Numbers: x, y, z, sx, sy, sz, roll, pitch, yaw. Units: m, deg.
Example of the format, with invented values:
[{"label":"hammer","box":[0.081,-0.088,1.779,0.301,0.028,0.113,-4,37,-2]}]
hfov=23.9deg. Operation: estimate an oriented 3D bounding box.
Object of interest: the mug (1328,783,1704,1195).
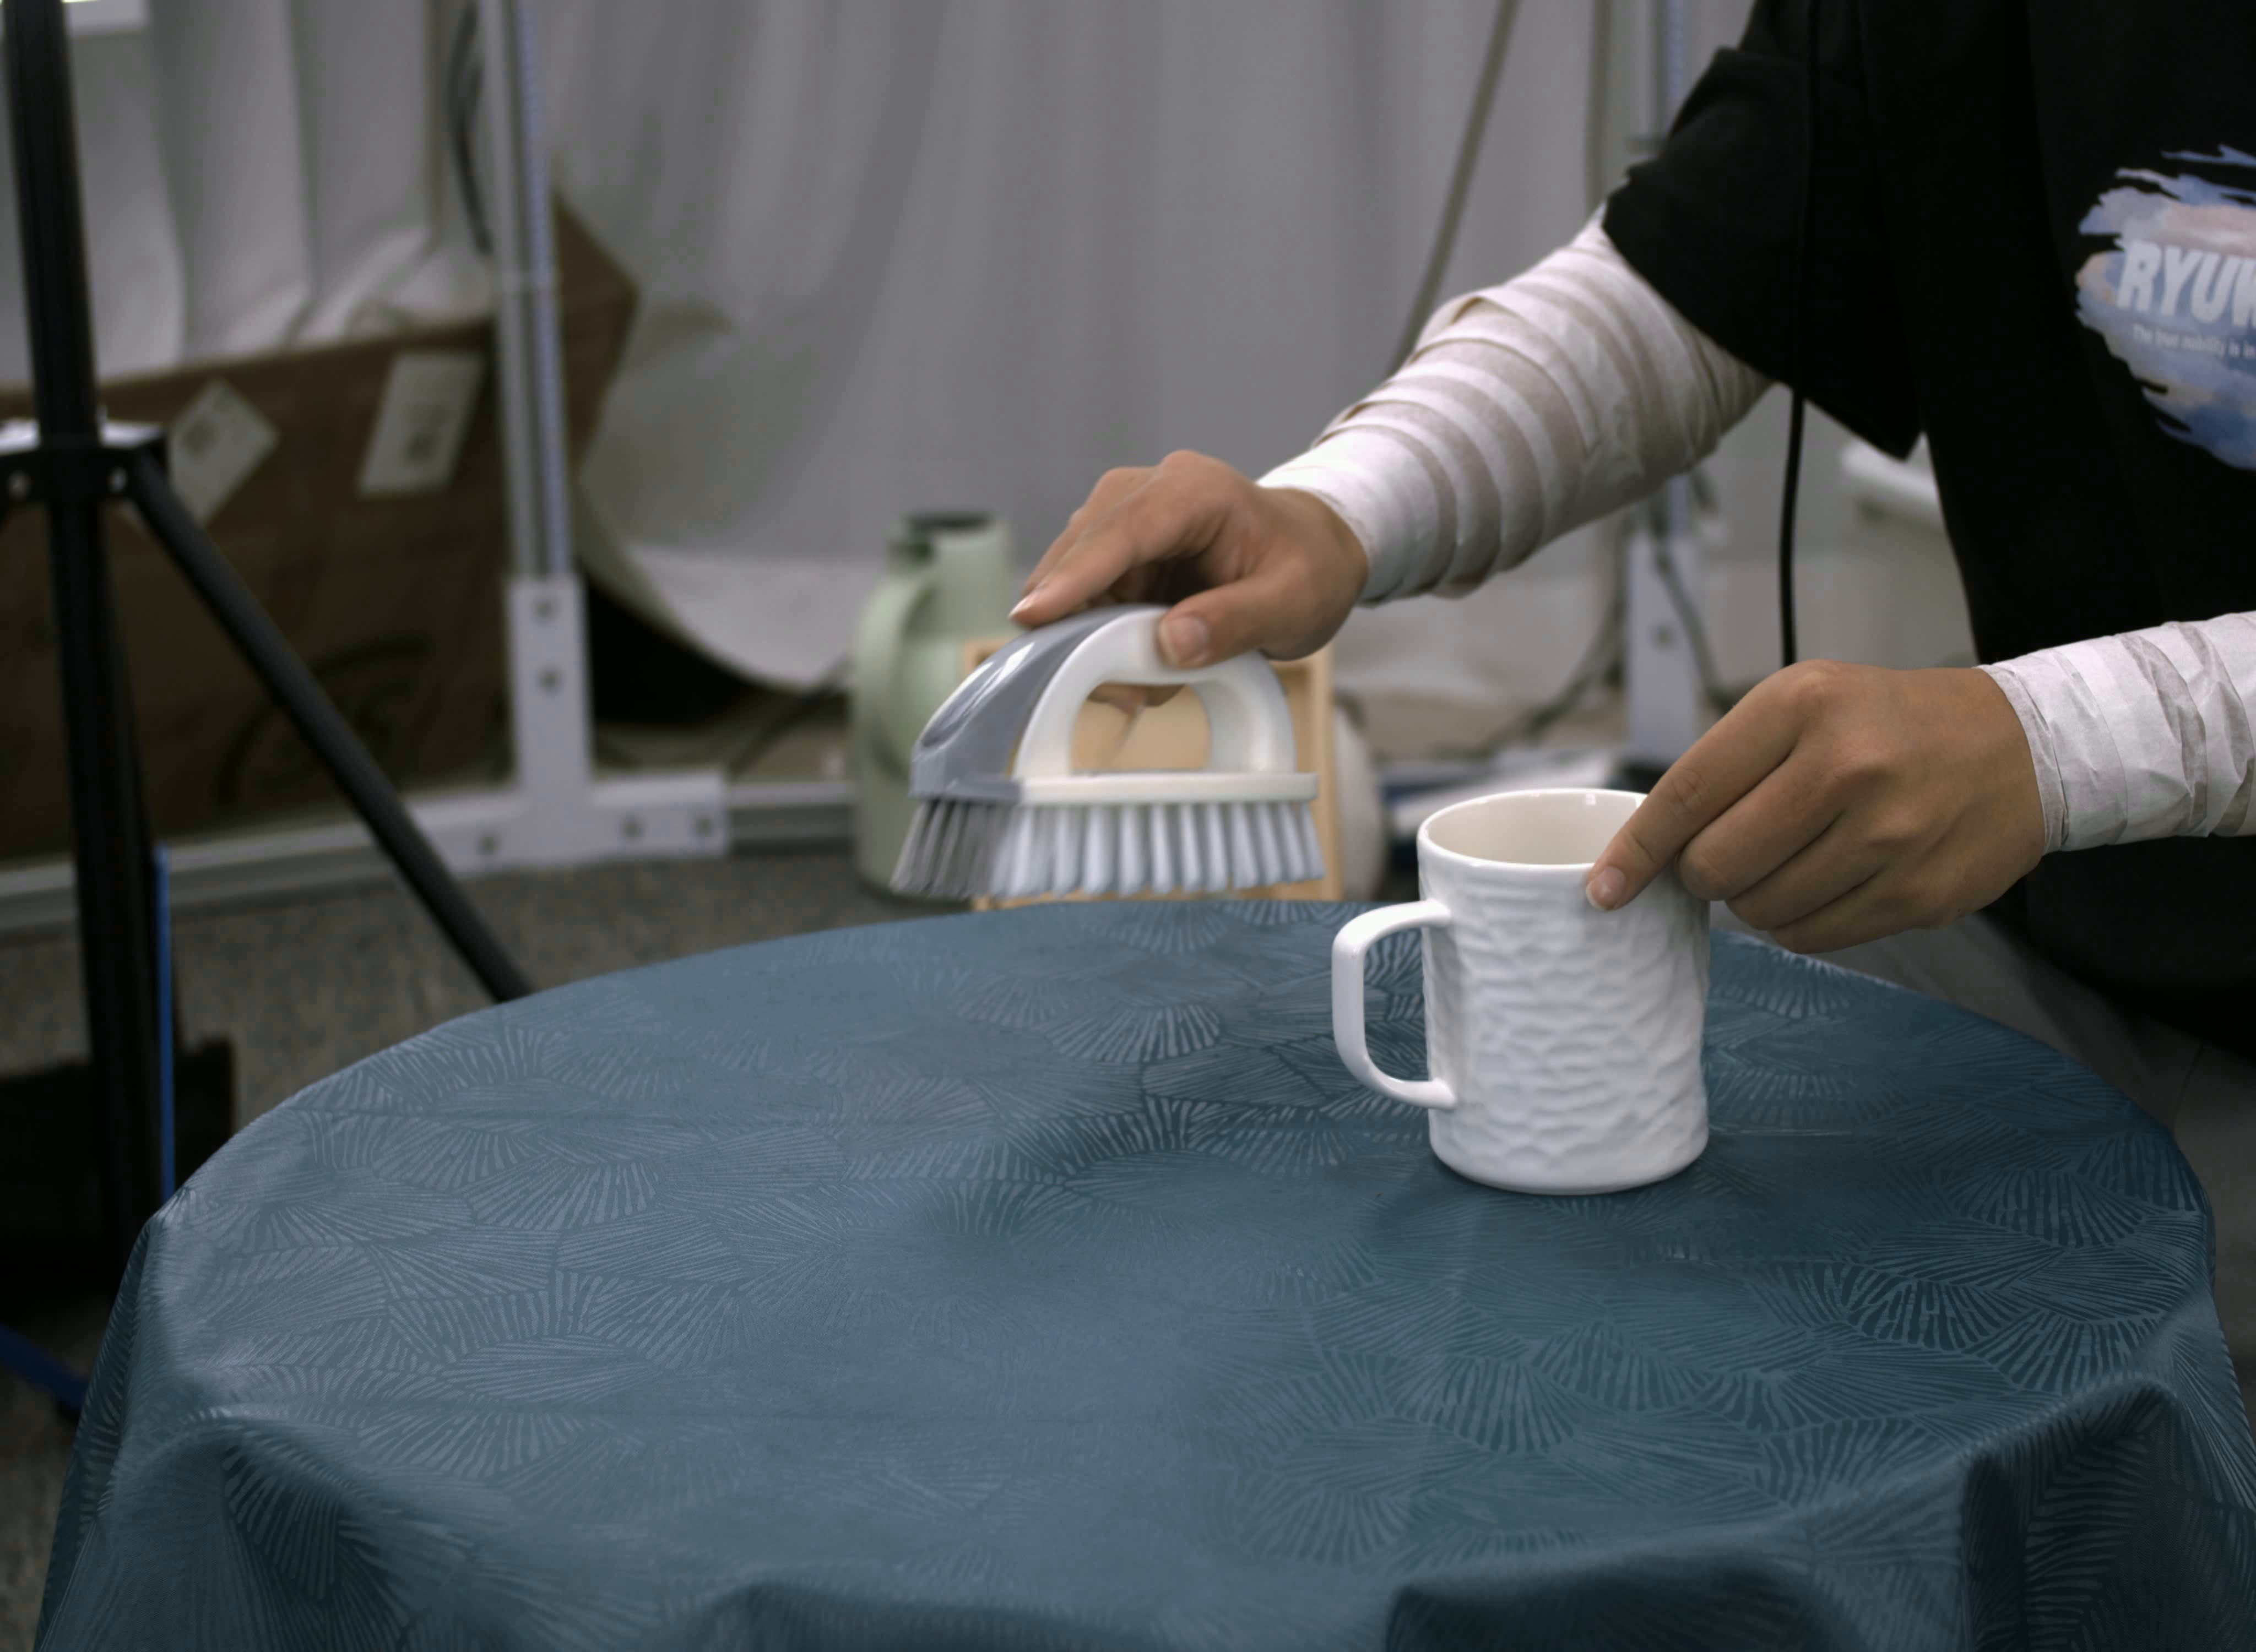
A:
[{"label":"mug","box":[0.113,0.051,1.556,0.116,0.102,0.086,-10,17,-24]}]

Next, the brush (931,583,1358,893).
[{"label":"brush","box":[-0.003,-0.027,1.625,0.062,0.095,0.171,-7,-3,42]}]
